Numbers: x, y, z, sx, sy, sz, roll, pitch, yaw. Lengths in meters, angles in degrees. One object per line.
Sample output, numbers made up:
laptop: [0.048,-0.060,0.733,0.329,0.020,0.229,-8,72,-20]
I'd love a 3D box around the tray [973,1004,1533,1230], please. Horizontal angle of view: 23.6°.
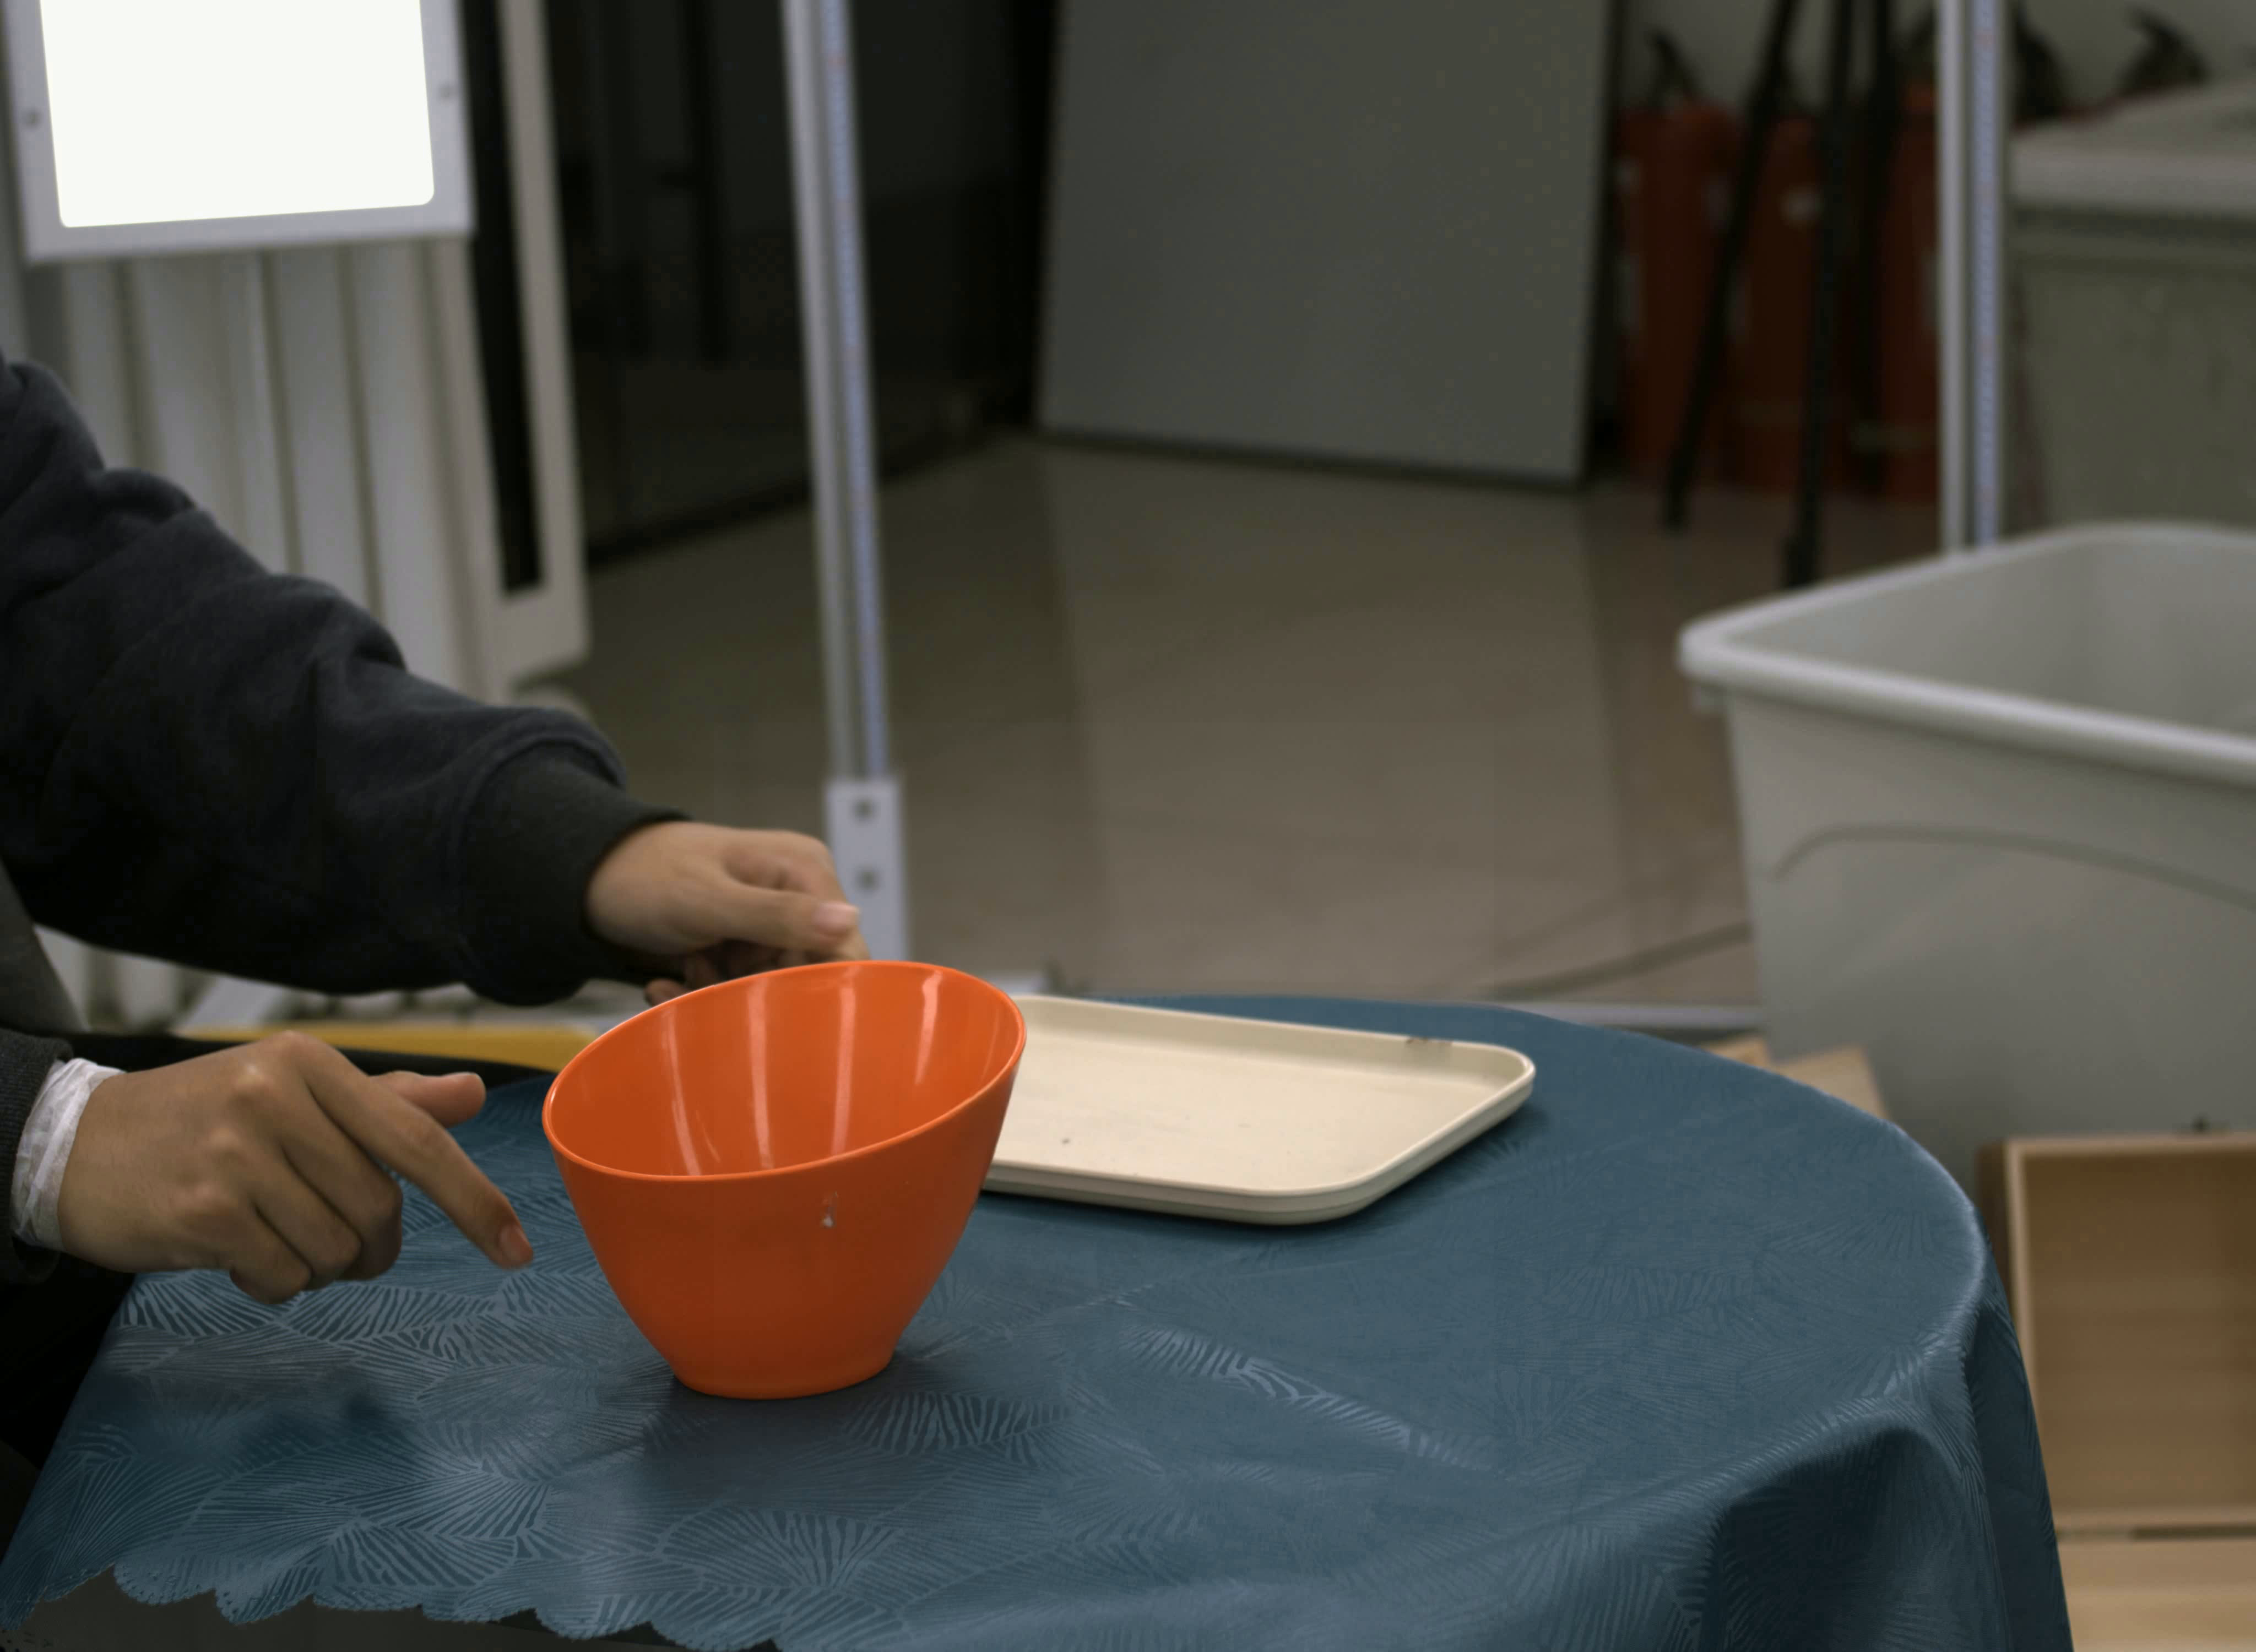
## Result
tray: [0.006,0.098,1.827,0.241,0.017,0.168,4,17,31]

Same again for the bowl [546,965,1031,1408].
bowl: [-0.099,0.112,1.623,0.146,0.106,0.148,-4,13,0]
